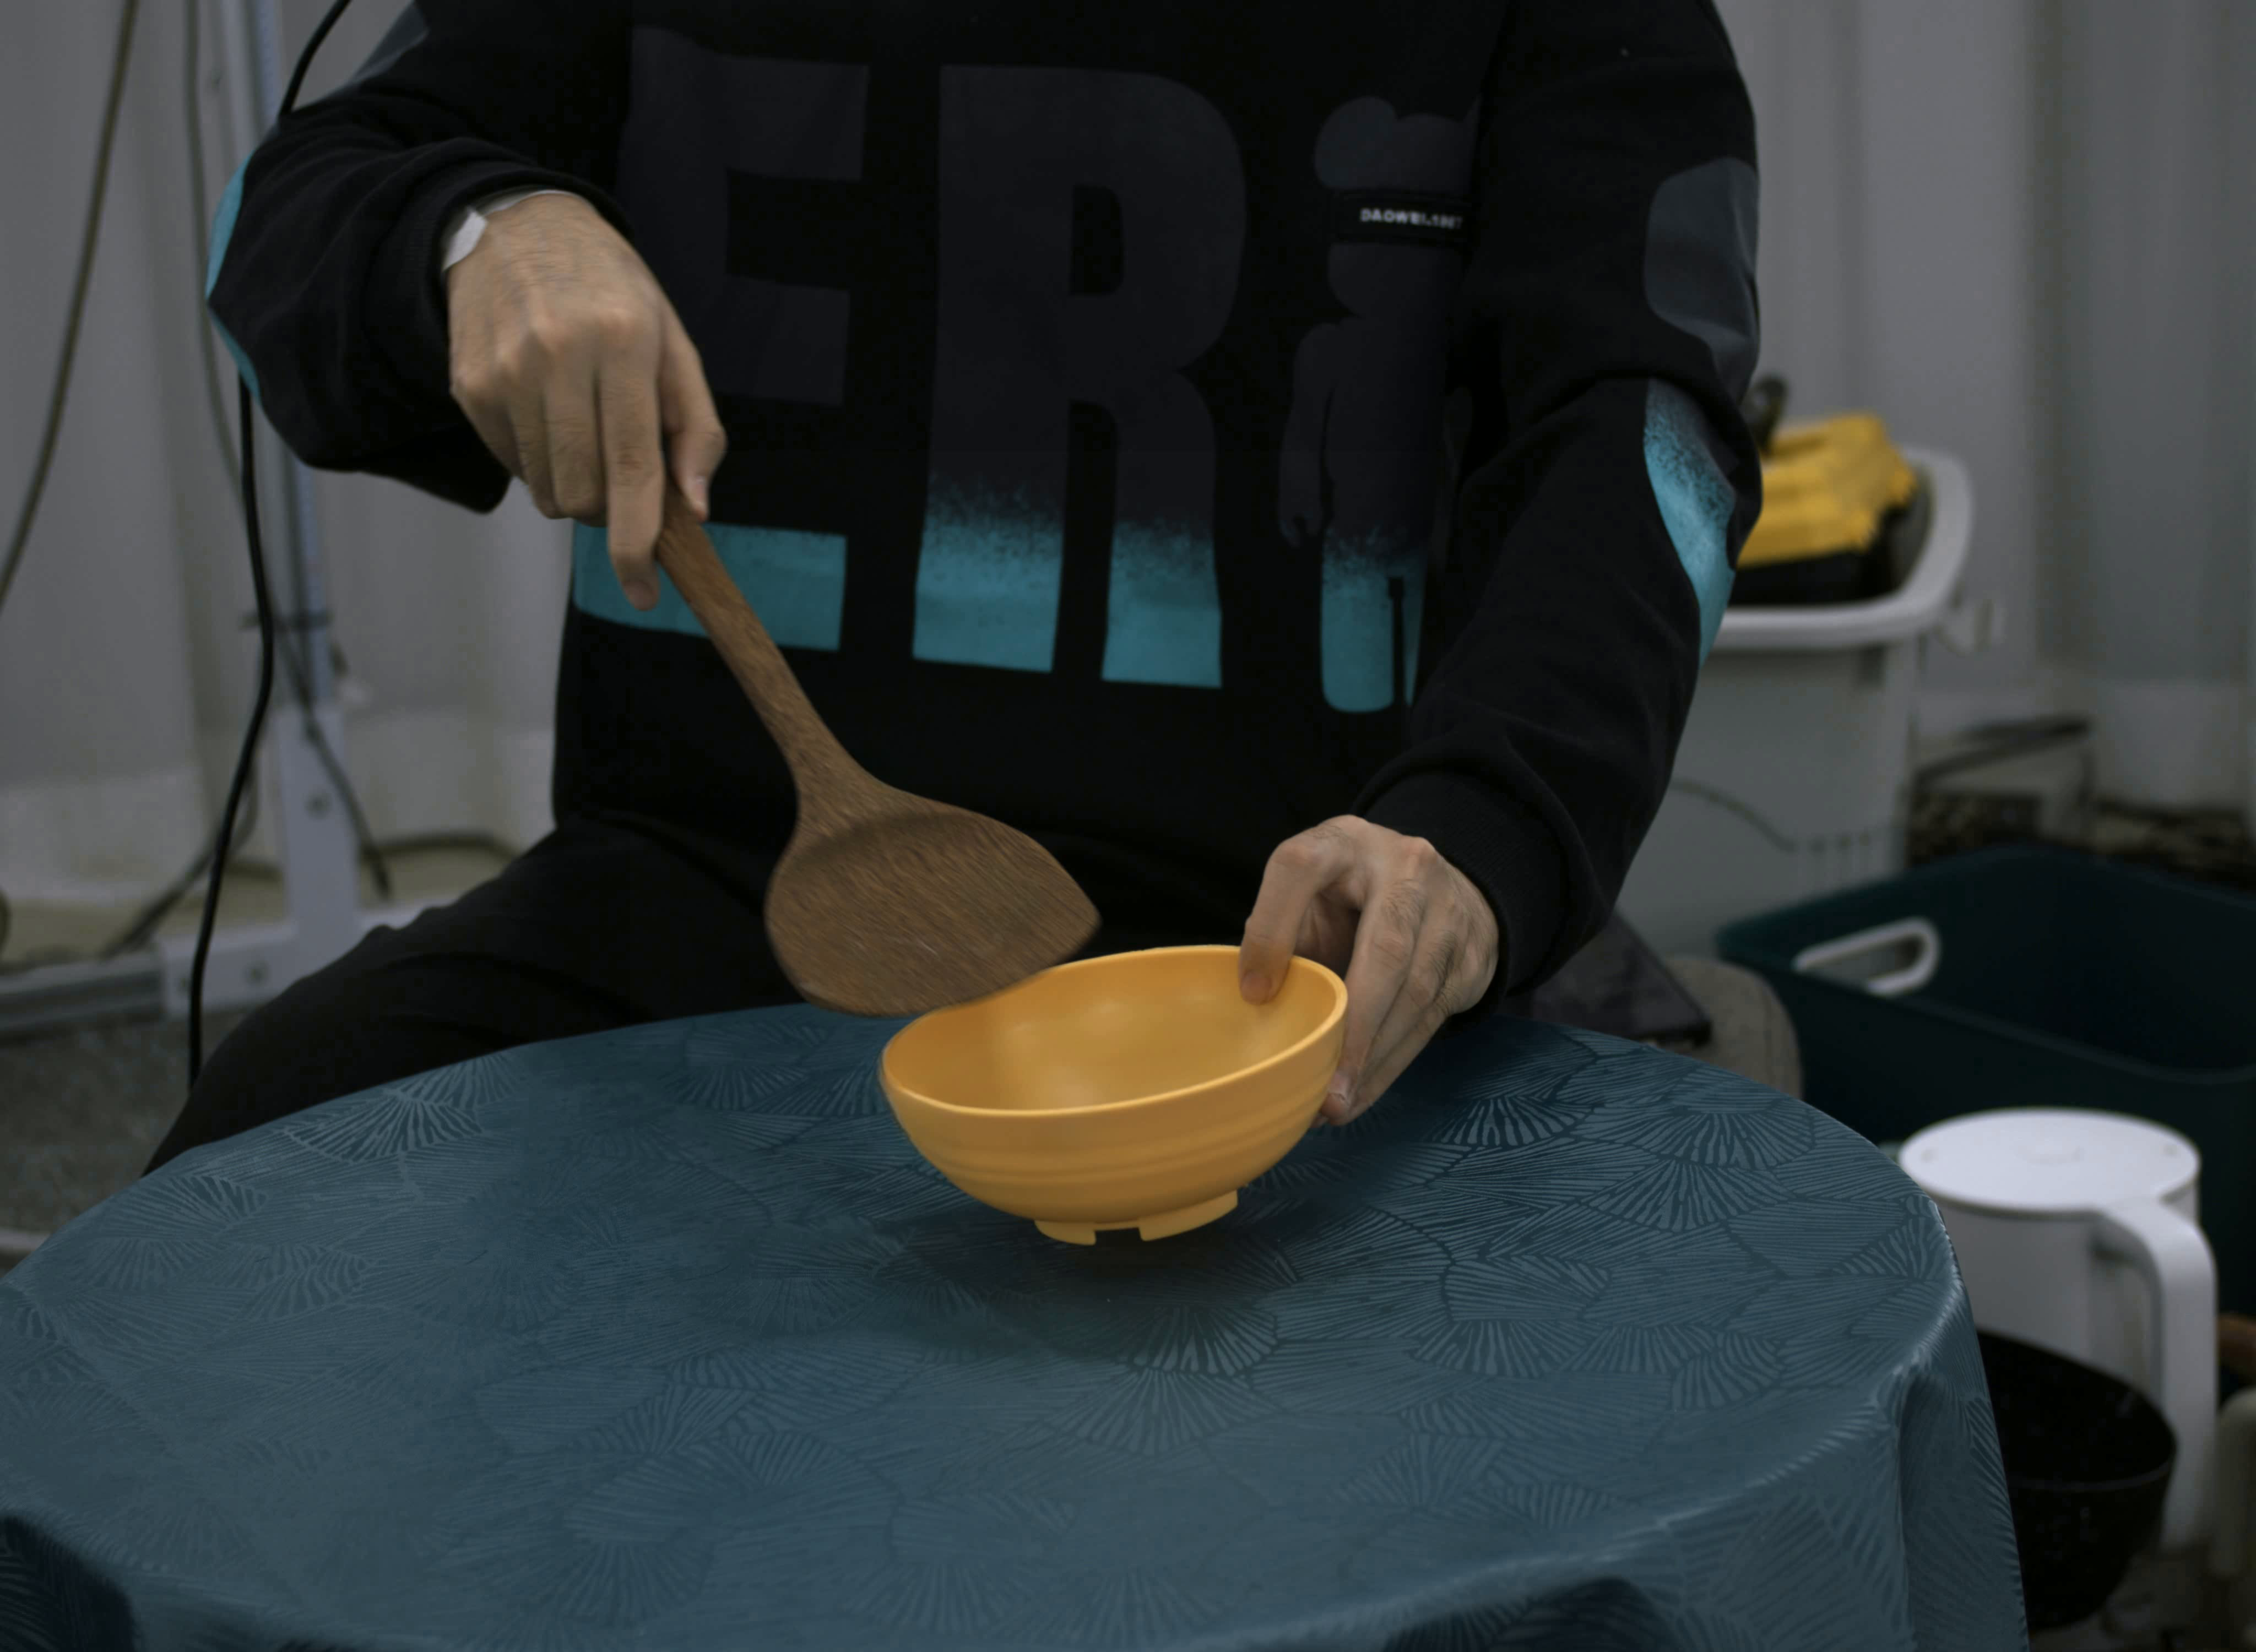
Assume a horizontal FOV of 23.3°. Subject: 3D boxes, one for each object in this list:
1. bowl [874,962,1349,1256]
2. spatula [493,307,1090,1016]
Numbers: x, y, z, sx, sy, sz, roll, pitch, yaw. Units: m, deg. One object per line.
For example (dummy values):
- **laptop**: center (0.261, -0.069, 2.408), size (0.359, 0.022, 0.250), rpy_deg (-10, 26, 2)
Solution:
- **bowl**: center (-0.002, 0.091, 1.658), size (0.145, 0.060, 0.146), rpy_deg (-6, 15, 1)
- **spatula**: center (-0.128, -0.064, 1.754), size (0.096, 0.015, 0.391), rpy_deg (-18, 44, -18)
